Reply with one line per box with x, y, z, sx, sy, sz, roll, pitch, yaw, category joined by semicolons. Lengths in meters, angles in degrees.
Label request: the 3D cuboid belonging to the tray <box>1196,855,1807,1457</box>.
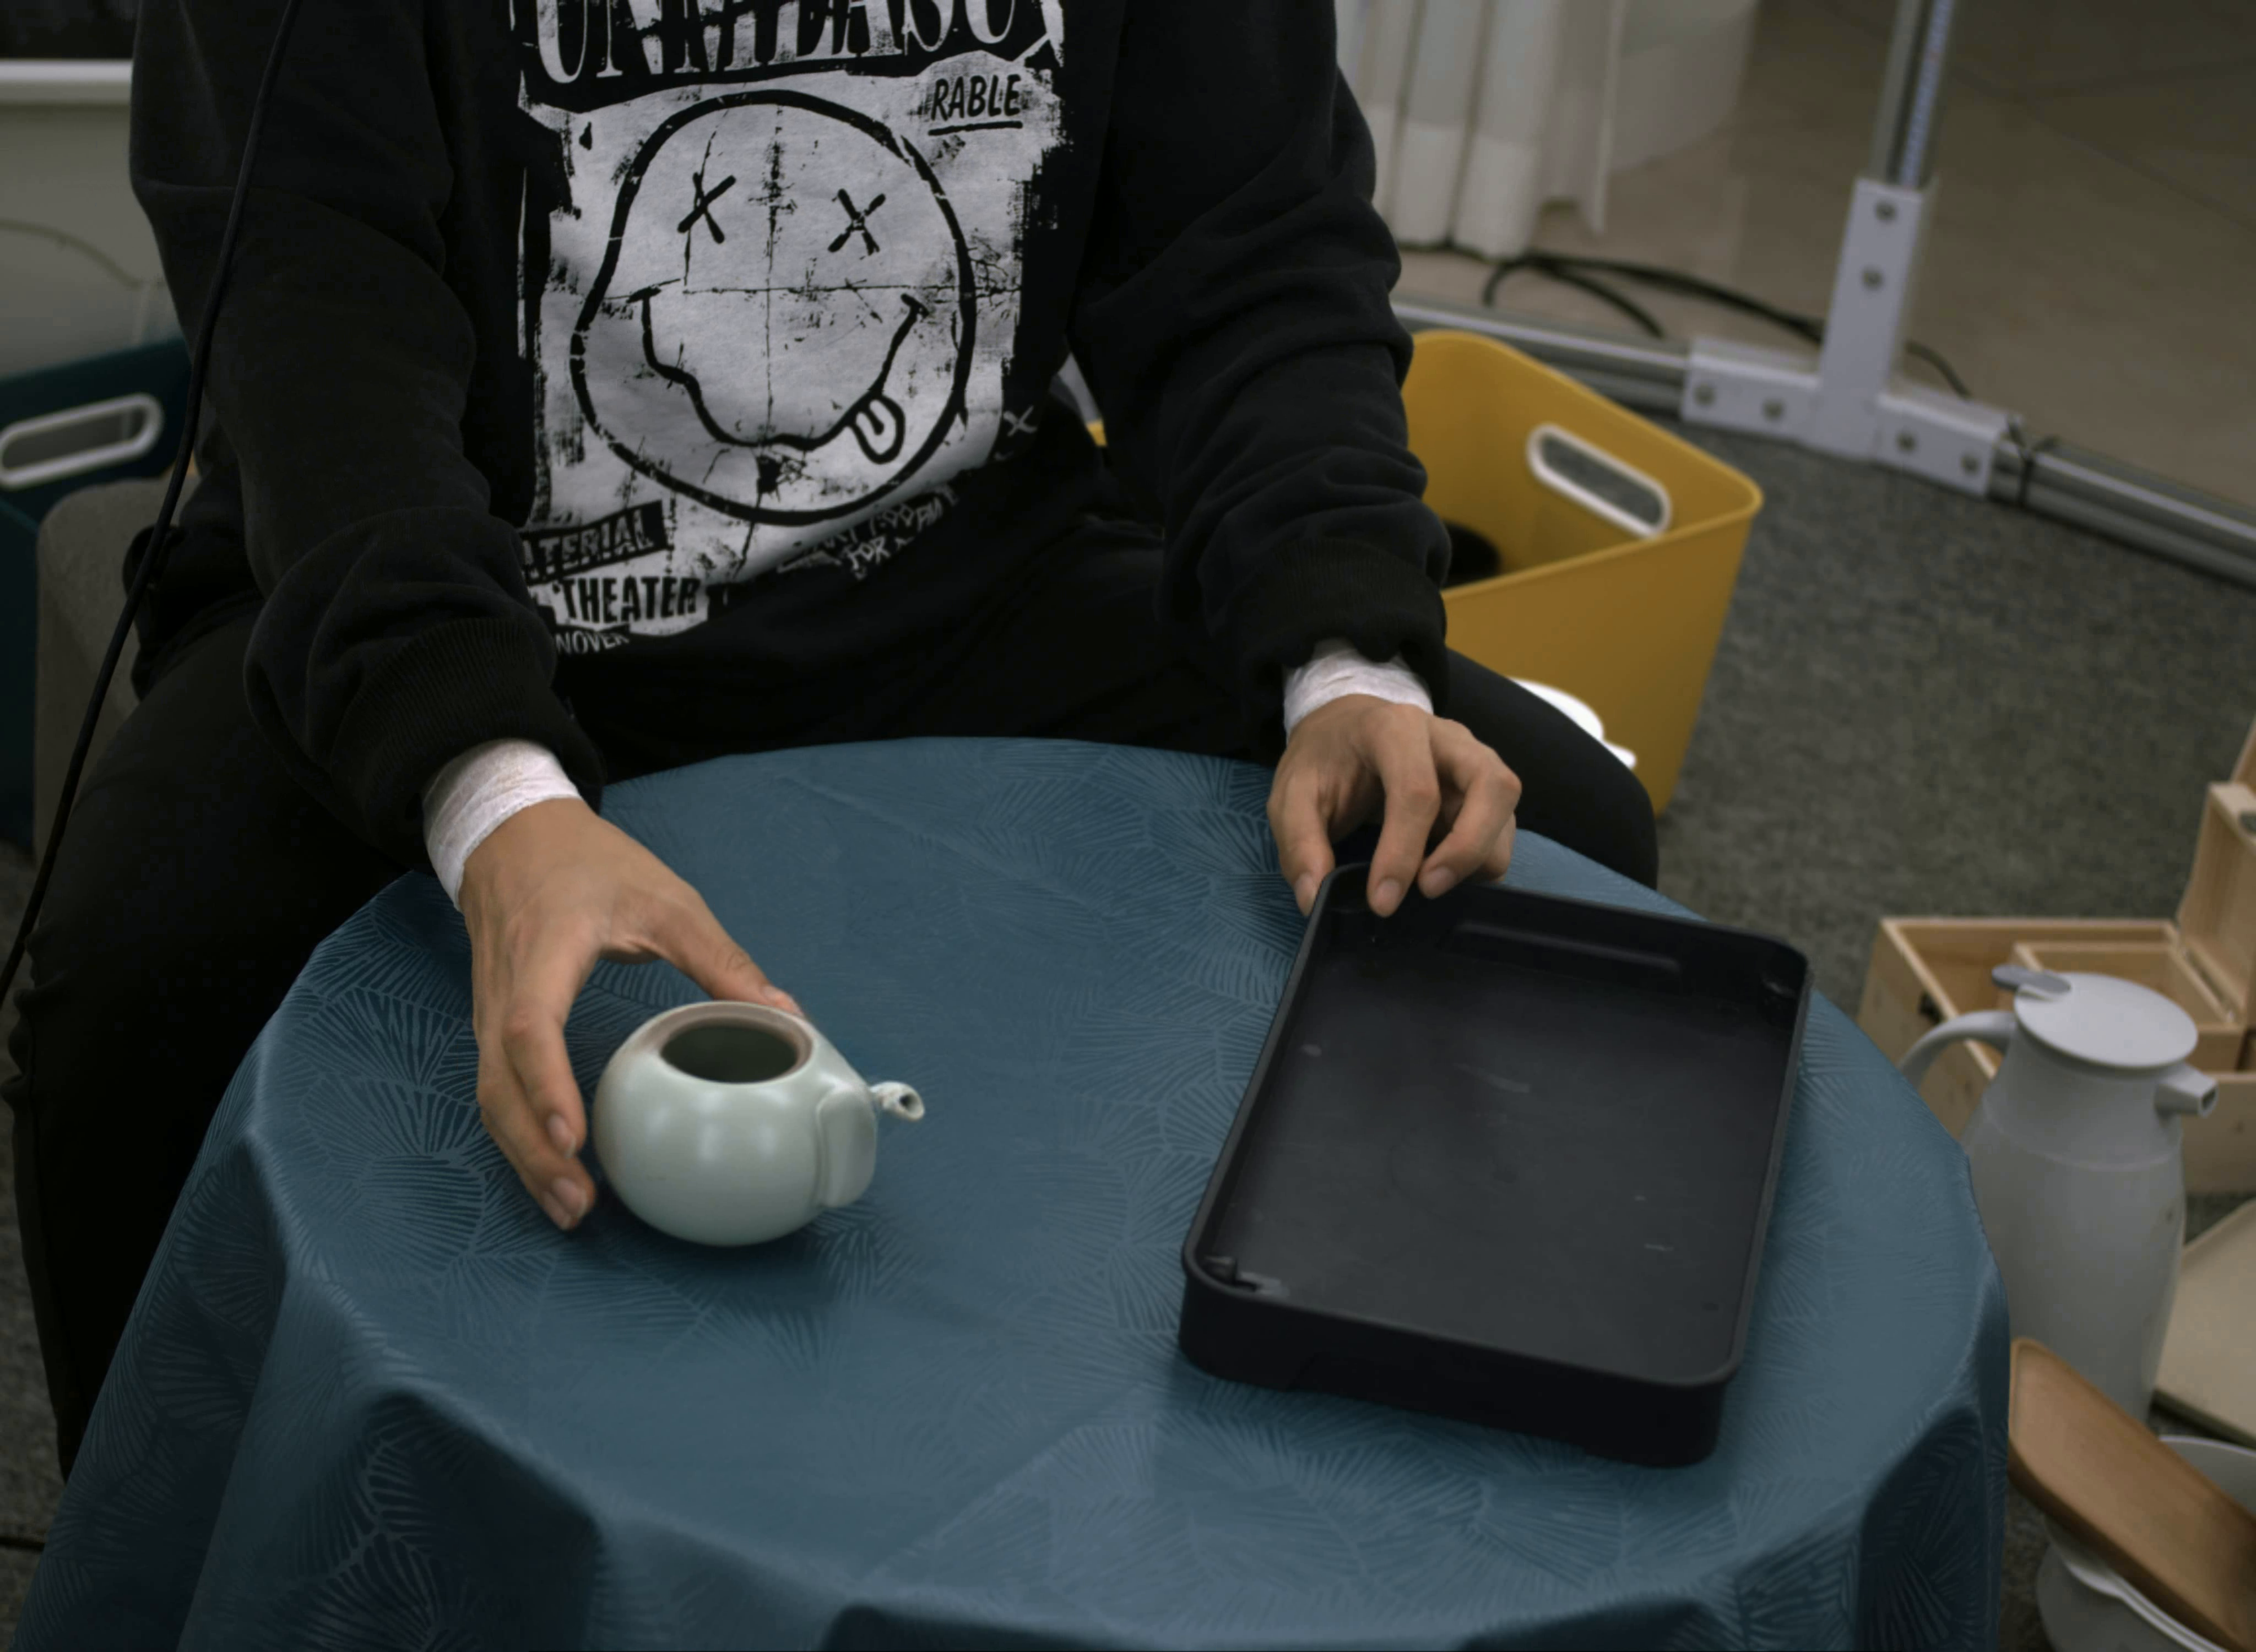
0.133;0.106;1.830;0.184;0.037;0.319;9;27;6;tray

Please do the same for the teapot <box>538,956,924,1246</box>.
-0.133;0.096;1.749;0.144;0.074;0.088;21;30;24;teapot
